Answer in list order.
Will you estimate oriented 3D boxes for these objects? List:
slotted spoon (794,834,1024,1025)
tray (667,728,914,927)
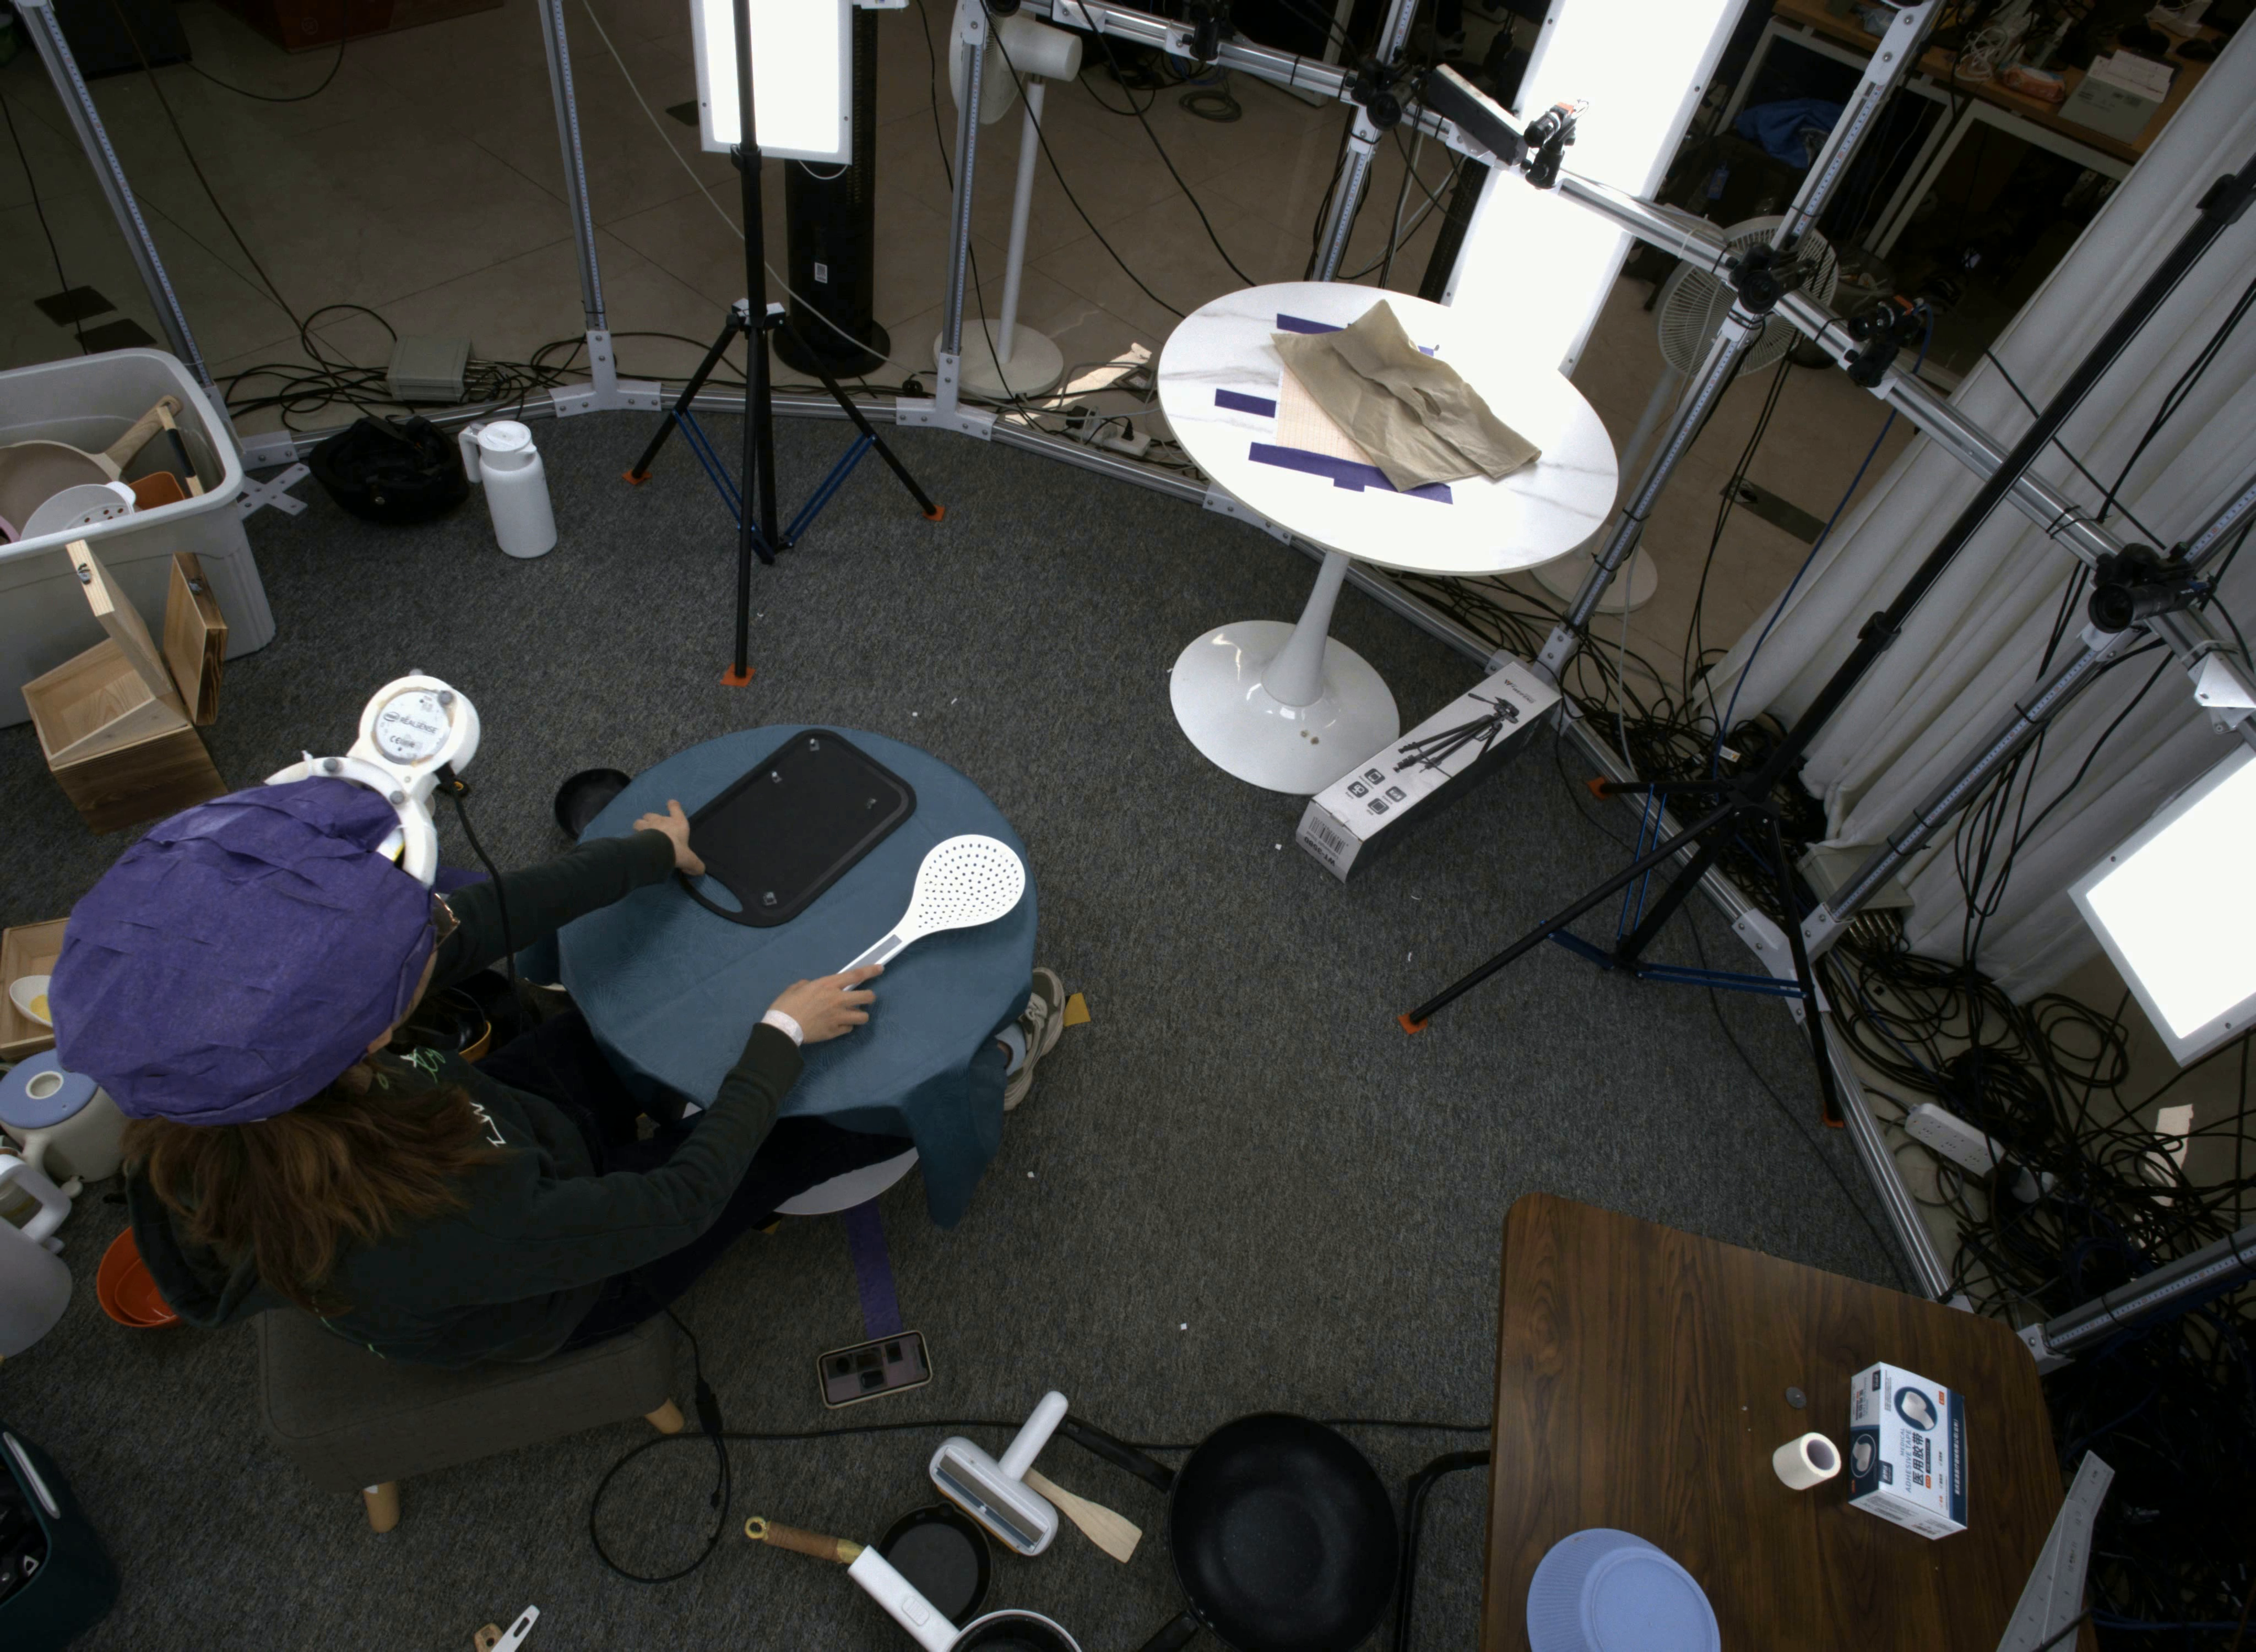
[{"bbox_3d":[-0.276,0.130,1.641,0.133,0.047,0.350,39,55,19],"label":"slotted spoon"},{"bbox_3d":[-0.449,-0.002,1.720,0.207,0.010,0.325,34,54,12],"label":"tray"}]
